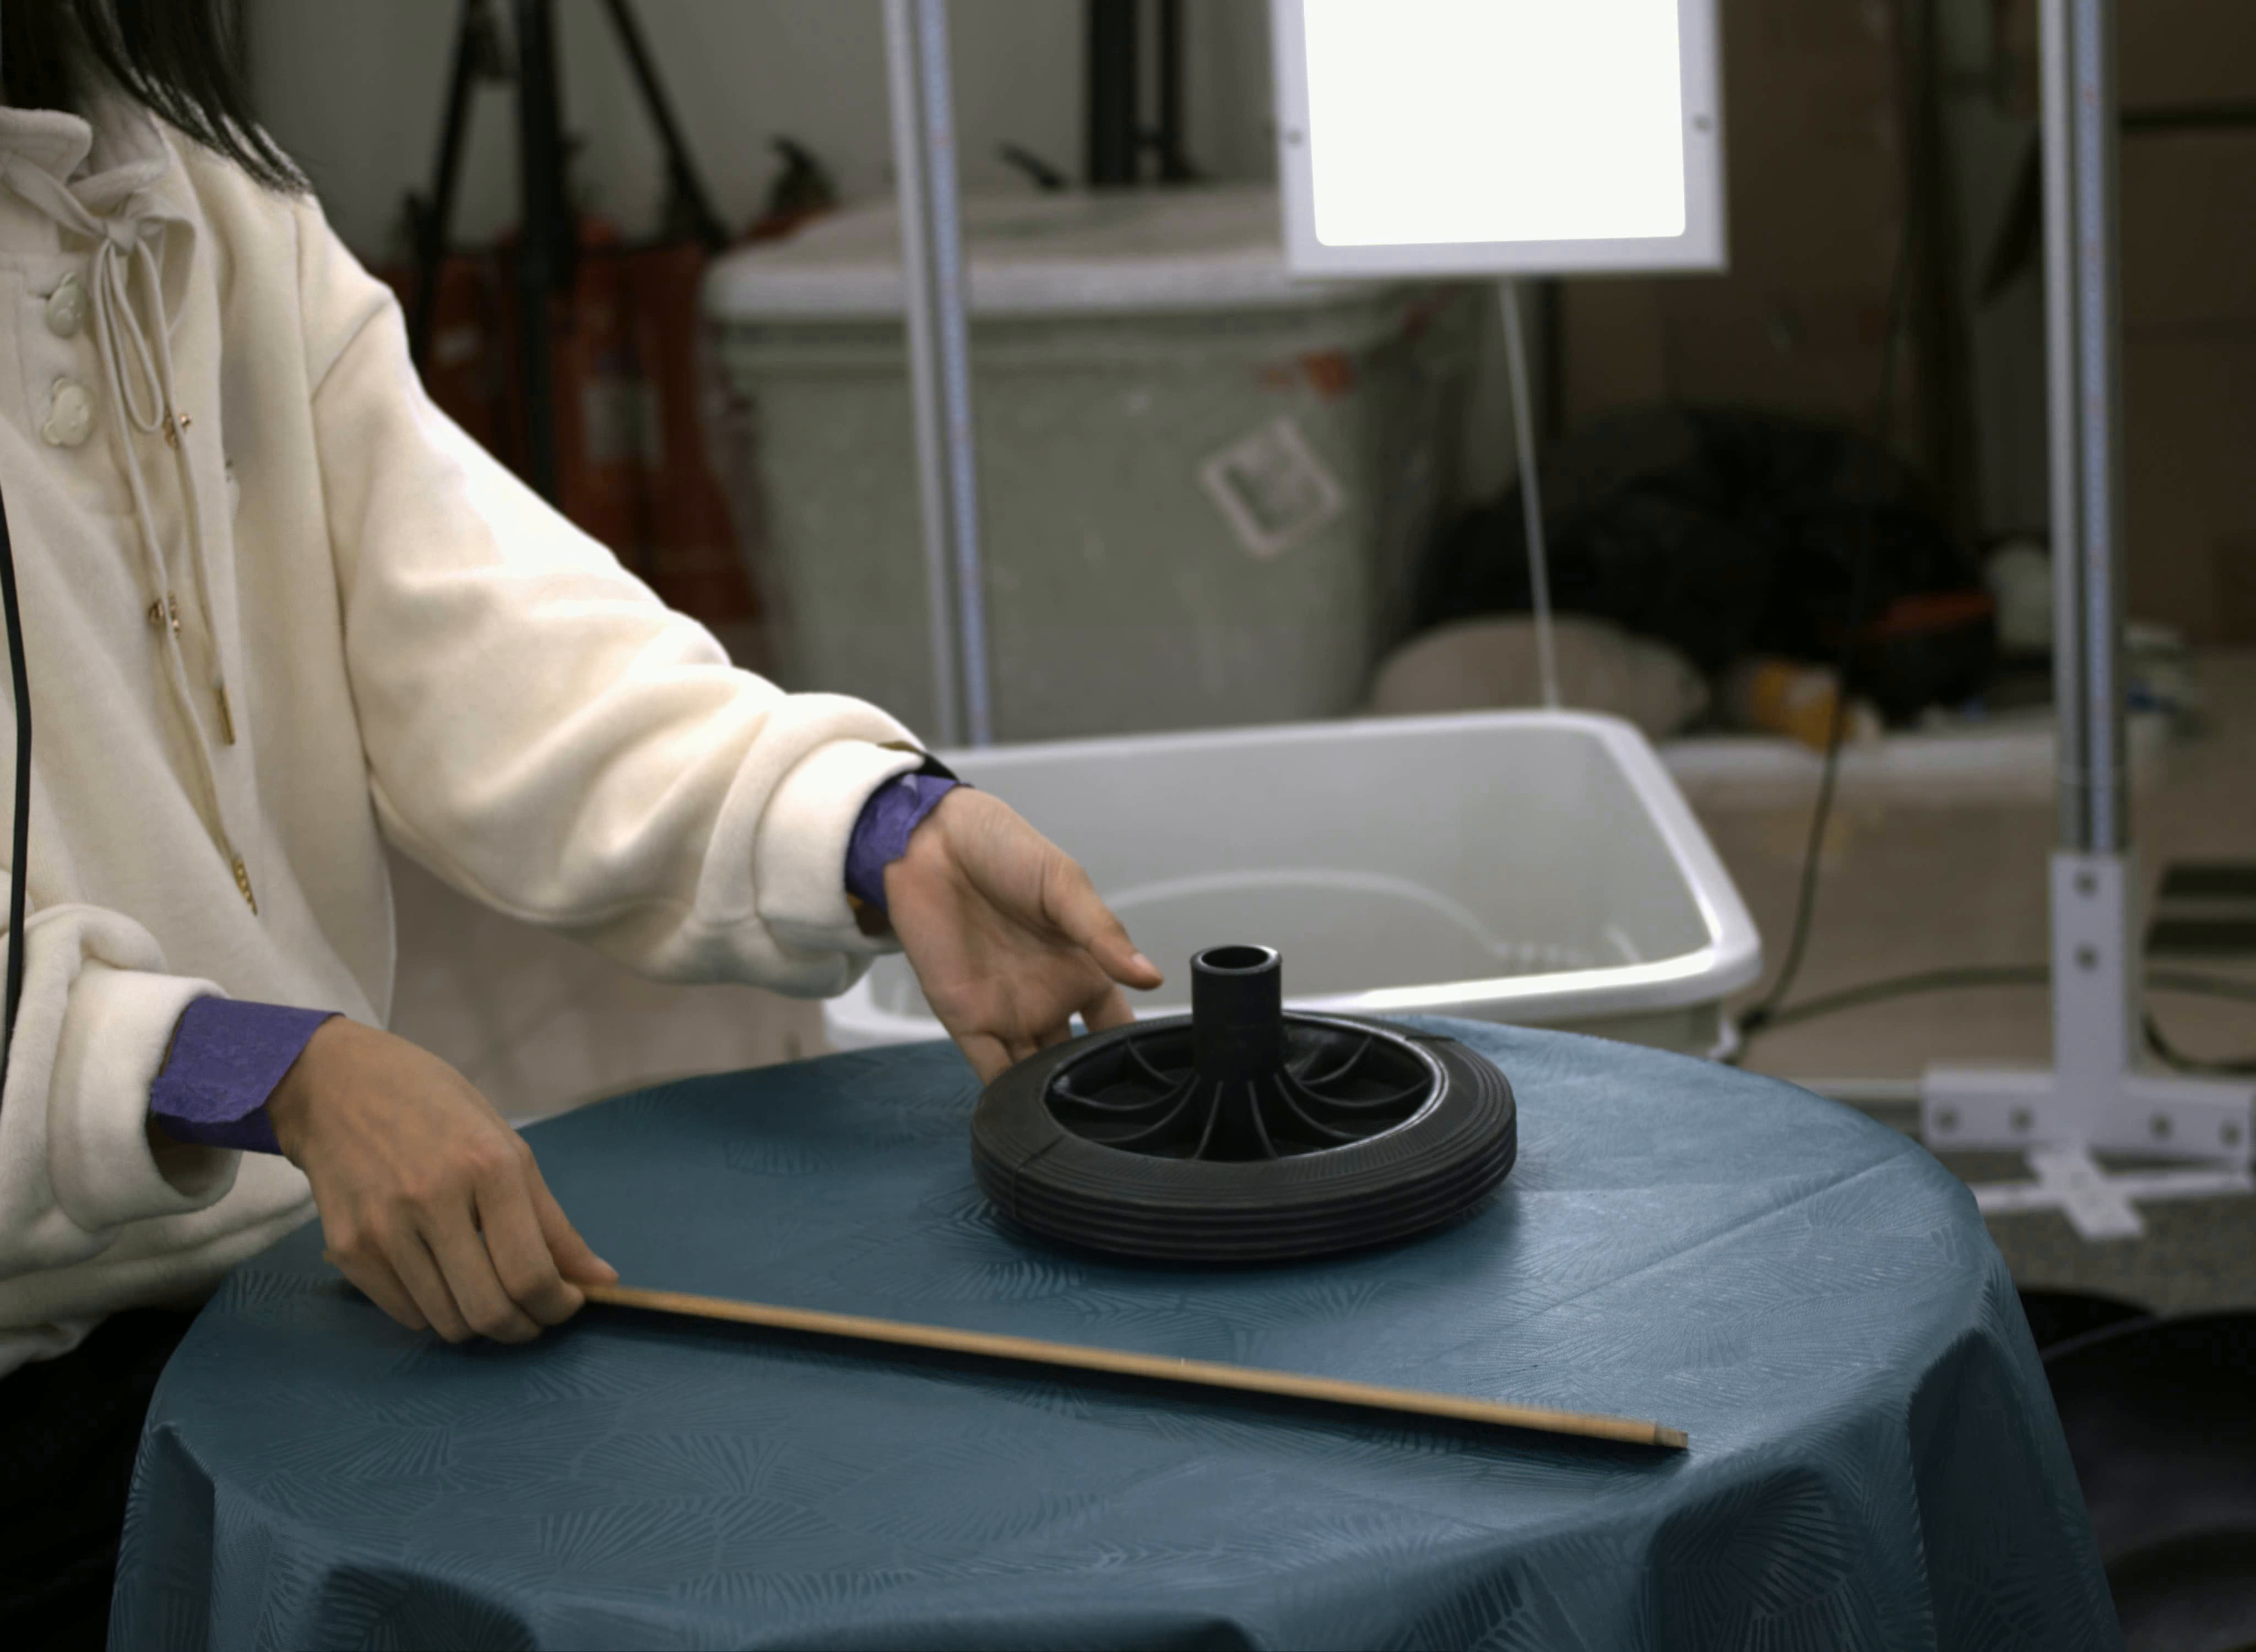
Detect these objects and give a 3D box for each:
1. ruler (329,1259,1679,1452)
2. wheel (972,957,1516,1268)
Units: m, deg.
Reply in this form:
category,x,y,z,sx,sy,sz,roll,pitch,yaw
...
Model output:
category,x,y,z,sx,sy,sz,roll,pitch,yaw
ruler,-0.055,0.164,1.740,0.510,0.006,0.026,4,-1,34
wheel,0.039,0.087,1.879,0.187,0.079,0.189,-2,17,5
